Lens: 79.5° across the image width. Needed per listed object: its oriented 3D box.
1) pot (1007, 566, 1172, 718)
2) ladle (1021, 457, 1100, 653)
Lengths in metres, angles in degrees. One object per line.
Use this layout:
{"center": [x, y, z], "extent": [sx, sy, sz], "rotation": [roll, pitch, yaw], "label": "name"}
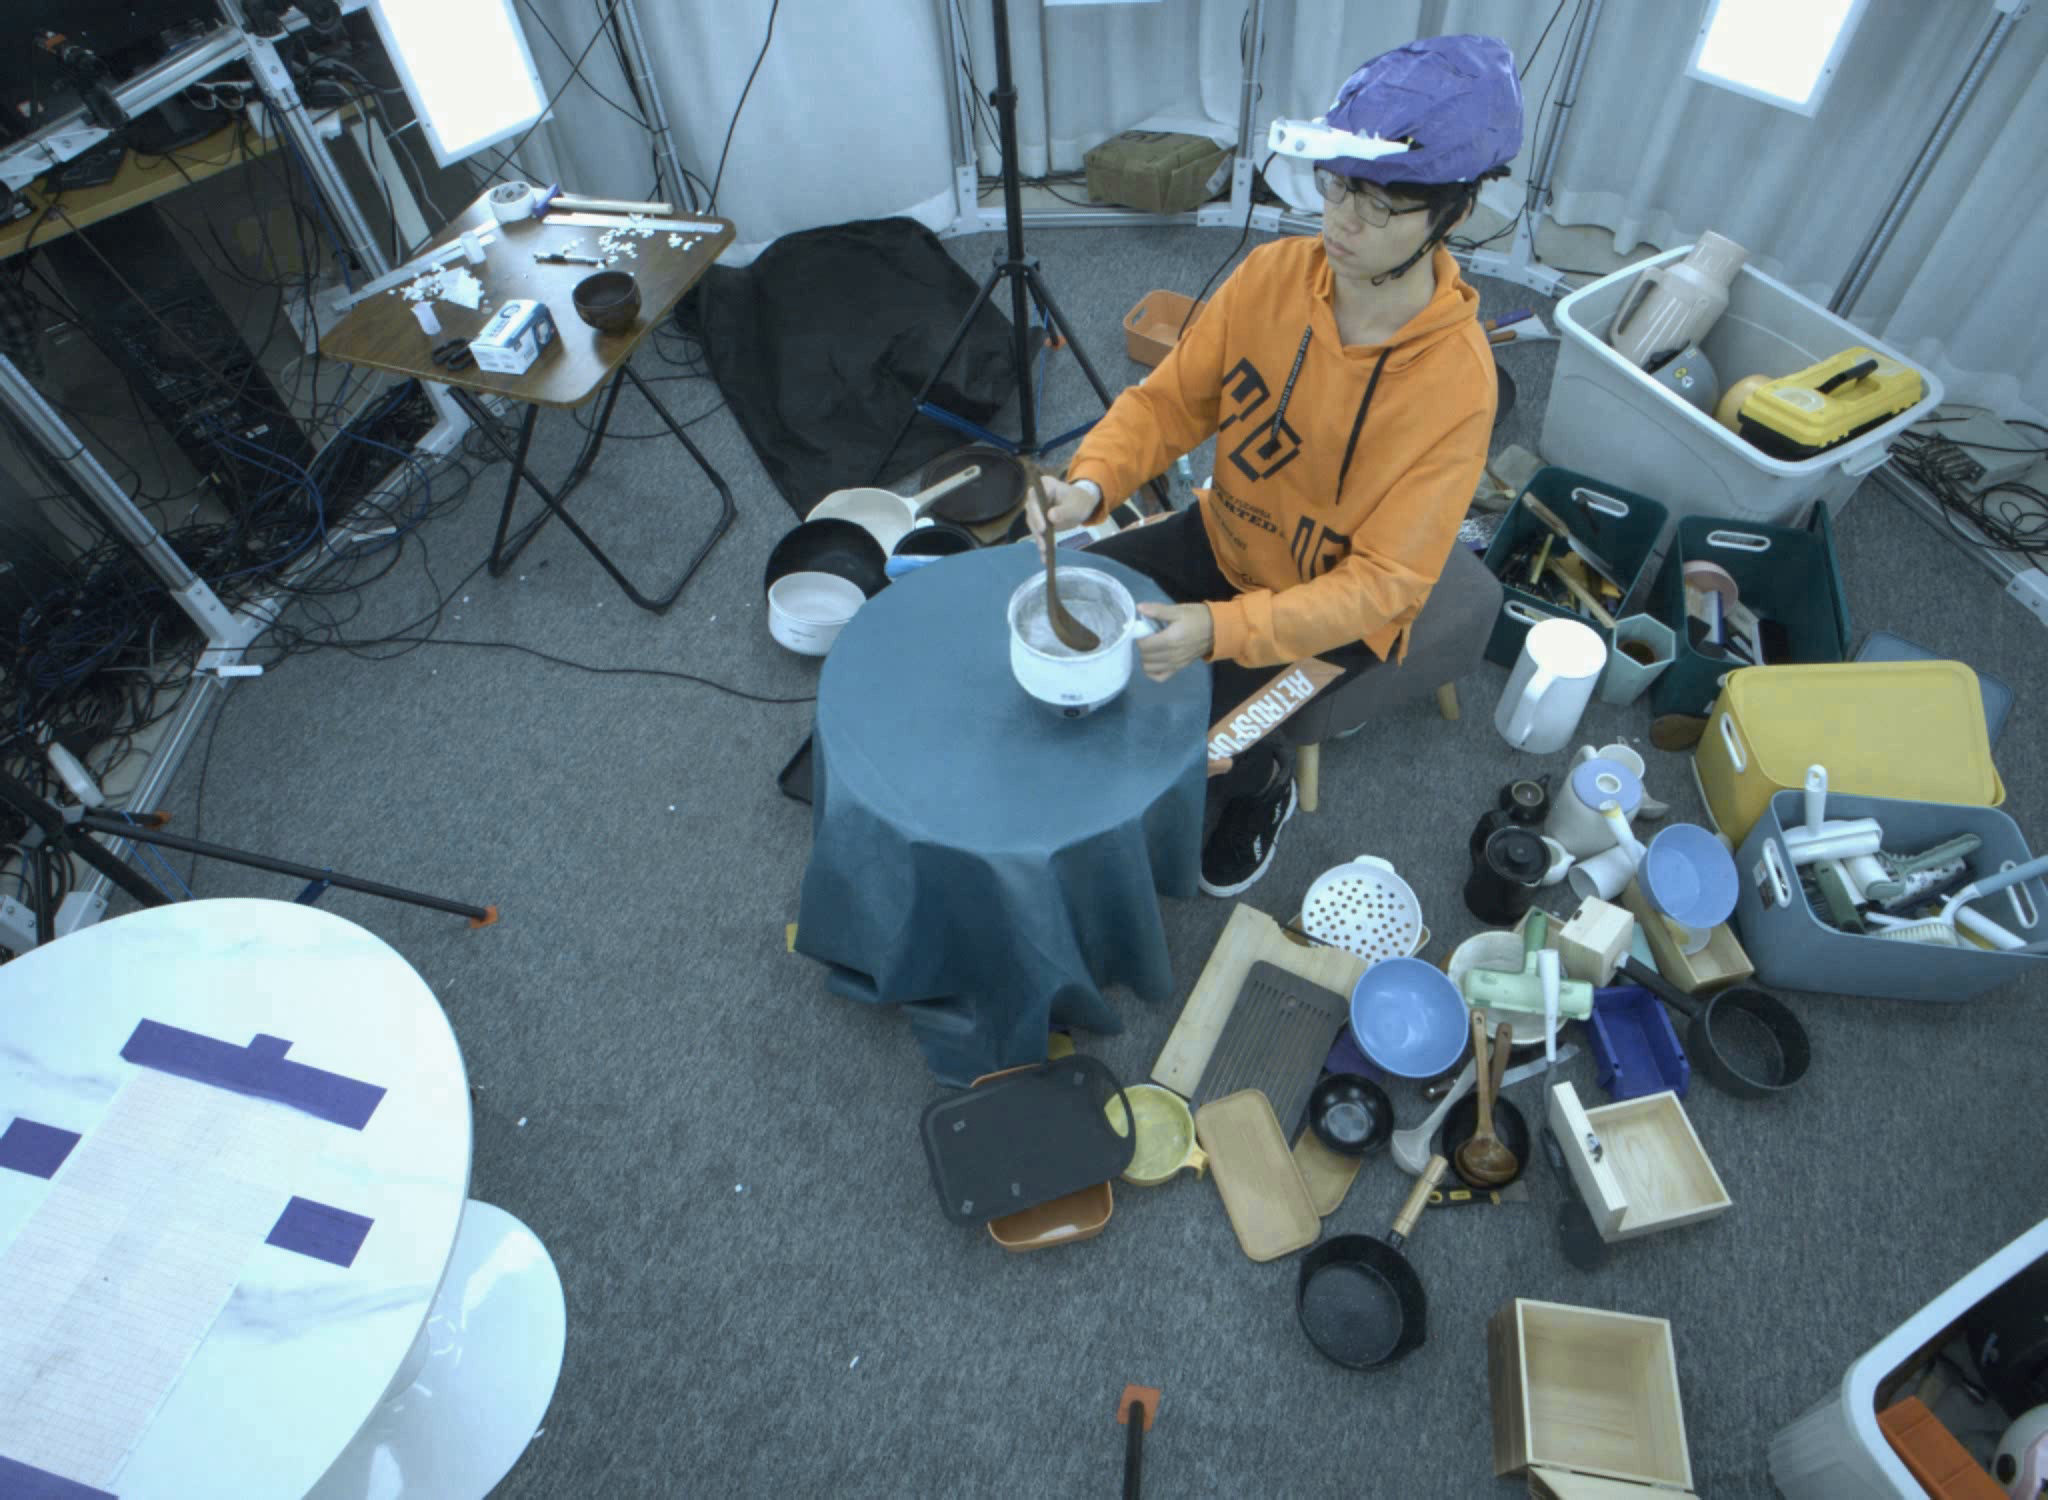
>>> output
{"center": [0.095, -0.153, 1.747], "extent": [0.234, 0.138, 0.177], "rotation": [-1, 56, 1], "label": "pot"}
{"center": [0.050, -0.266, 1.661], "extent": [0.070, 0.275, 0.076], "rotation": [-6, 11, 17], "label": "ladle"}
